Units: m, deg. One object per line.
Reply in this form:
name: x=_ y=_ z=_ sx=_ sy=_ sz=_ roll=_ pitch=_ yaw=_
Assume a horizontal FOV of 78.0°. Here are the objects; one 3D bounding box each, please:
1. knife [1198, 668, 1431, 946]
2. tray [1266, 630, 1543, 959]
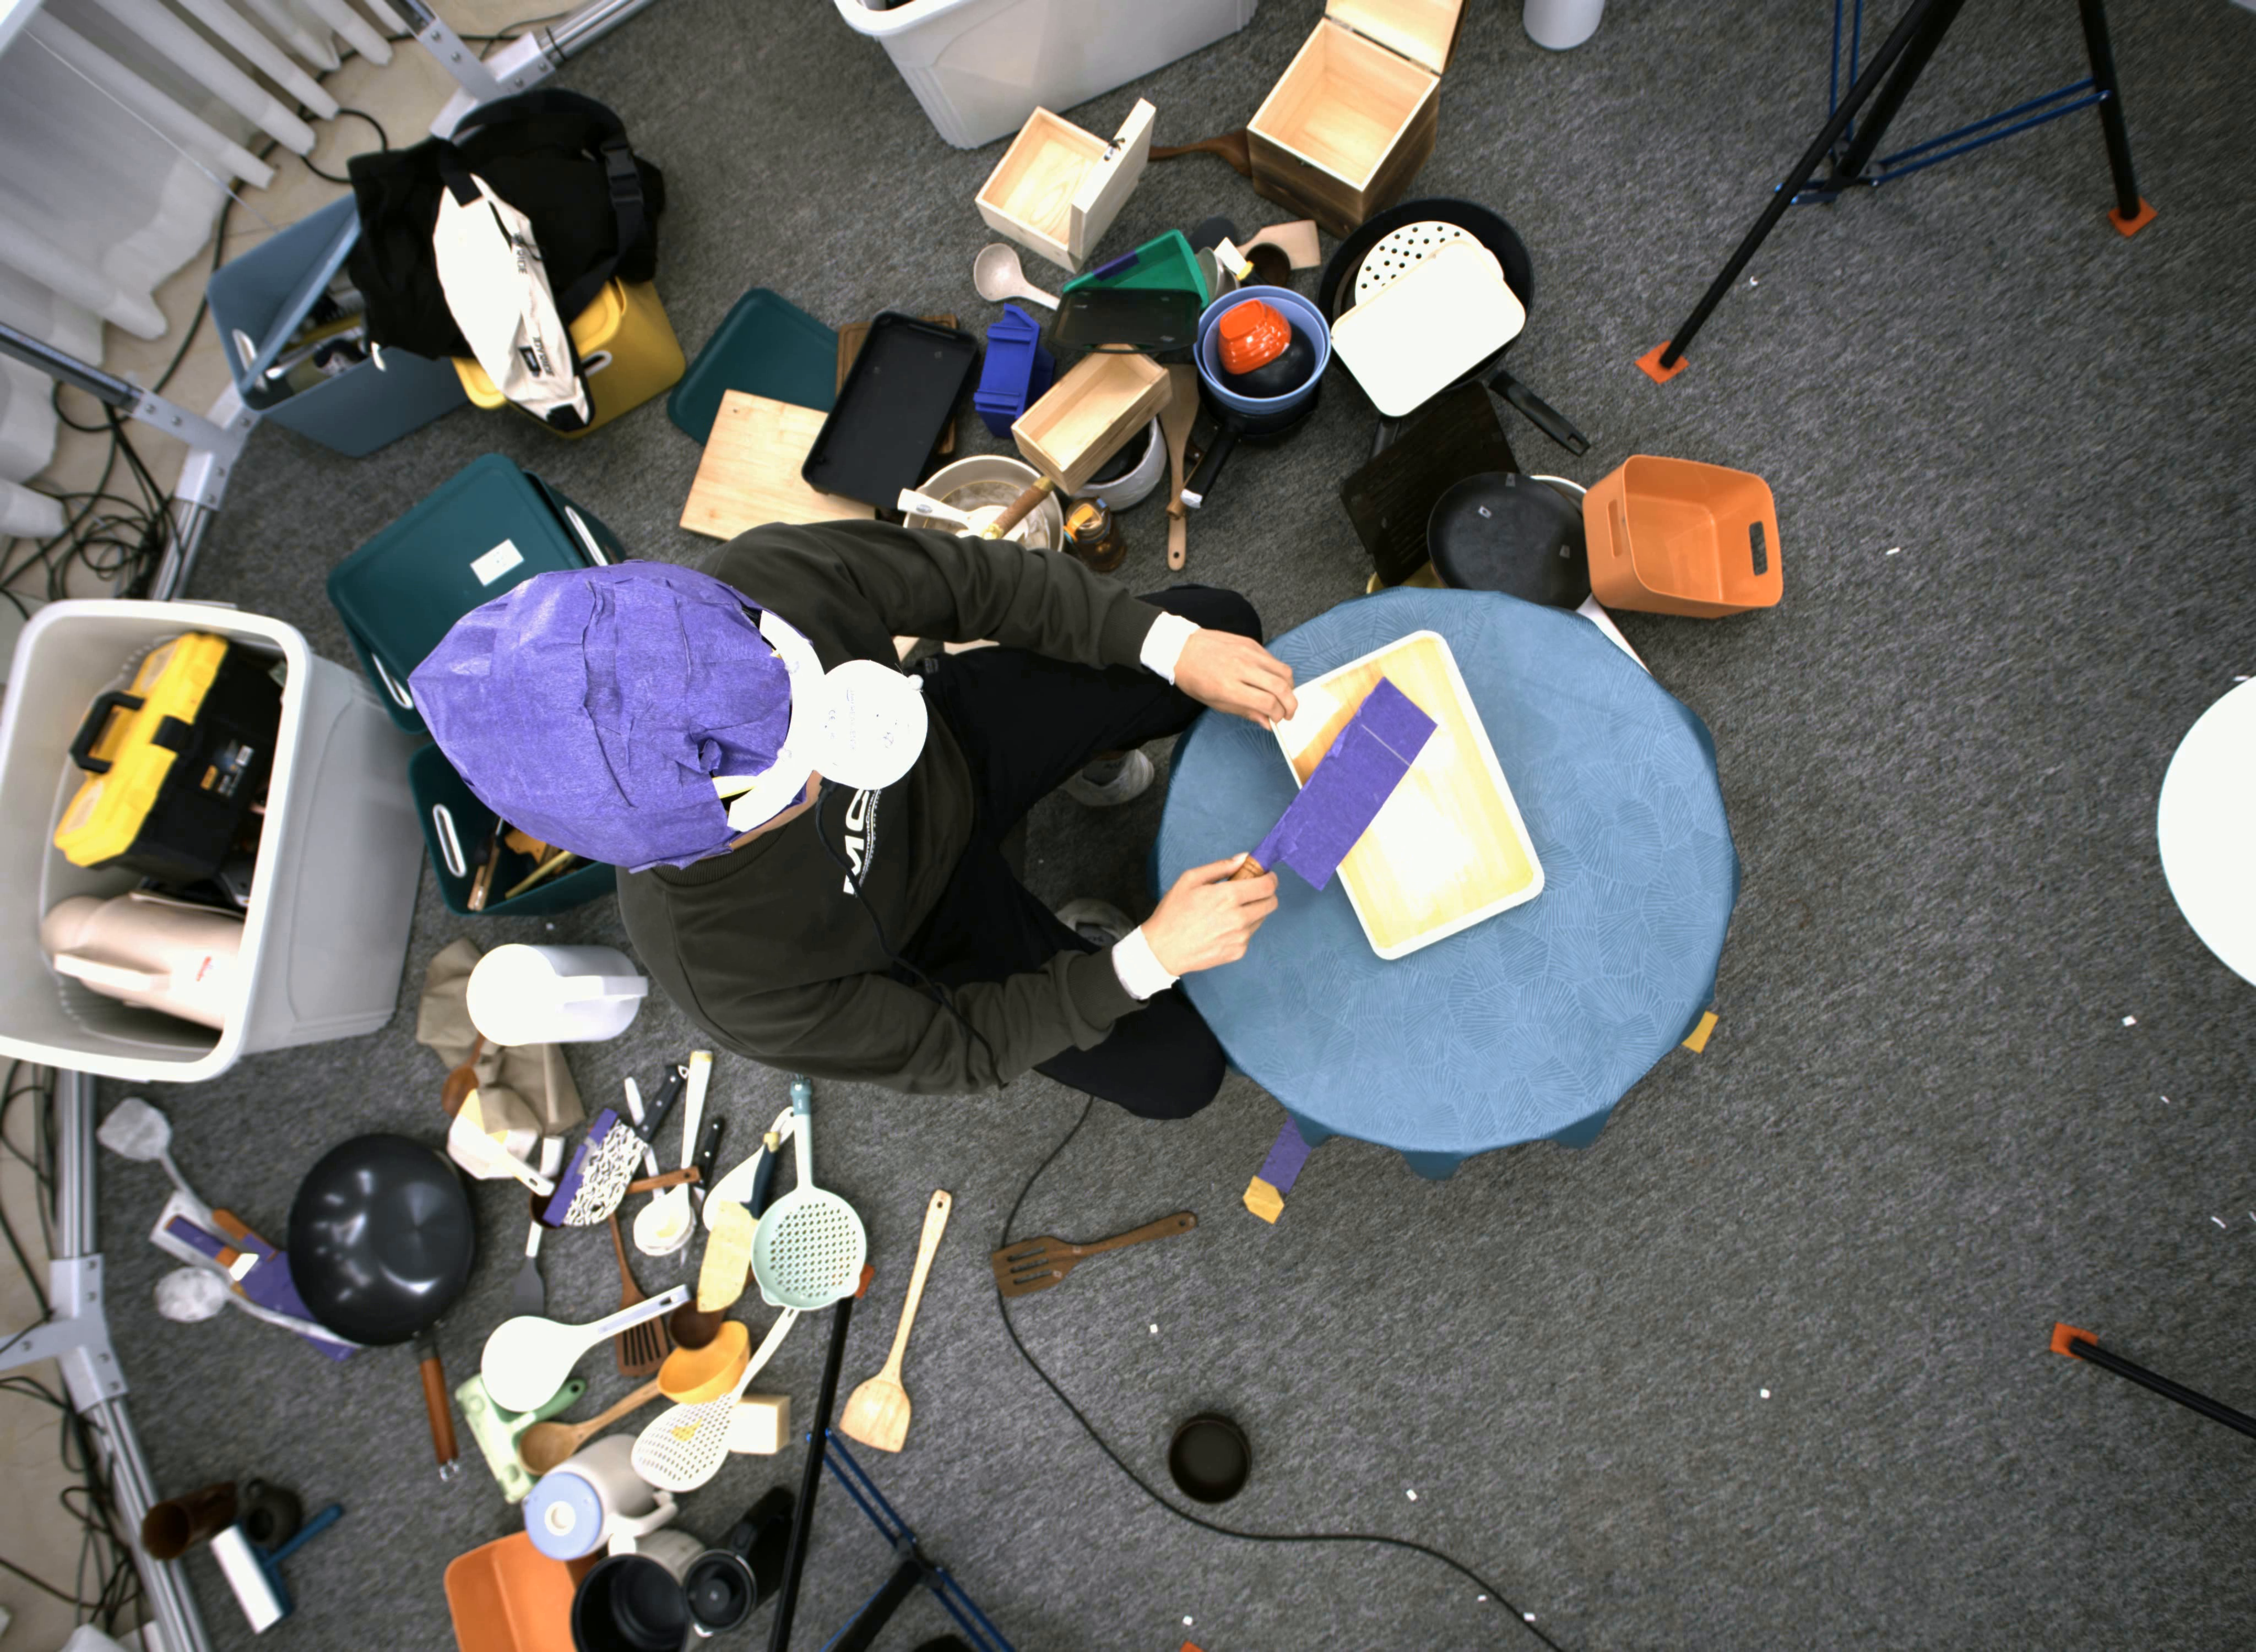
knife: x=0.191 y=-0.002 z=1.356 sx=0.104 sy=0.032 sz=0.316 roll=35 pitch=93 yaw=-27
tray: x=0.282 y=-0.030 z=1.396 sx=0.193 sy=0.027 sz=0.303 roll=-24 pitch=105 yaw=8
